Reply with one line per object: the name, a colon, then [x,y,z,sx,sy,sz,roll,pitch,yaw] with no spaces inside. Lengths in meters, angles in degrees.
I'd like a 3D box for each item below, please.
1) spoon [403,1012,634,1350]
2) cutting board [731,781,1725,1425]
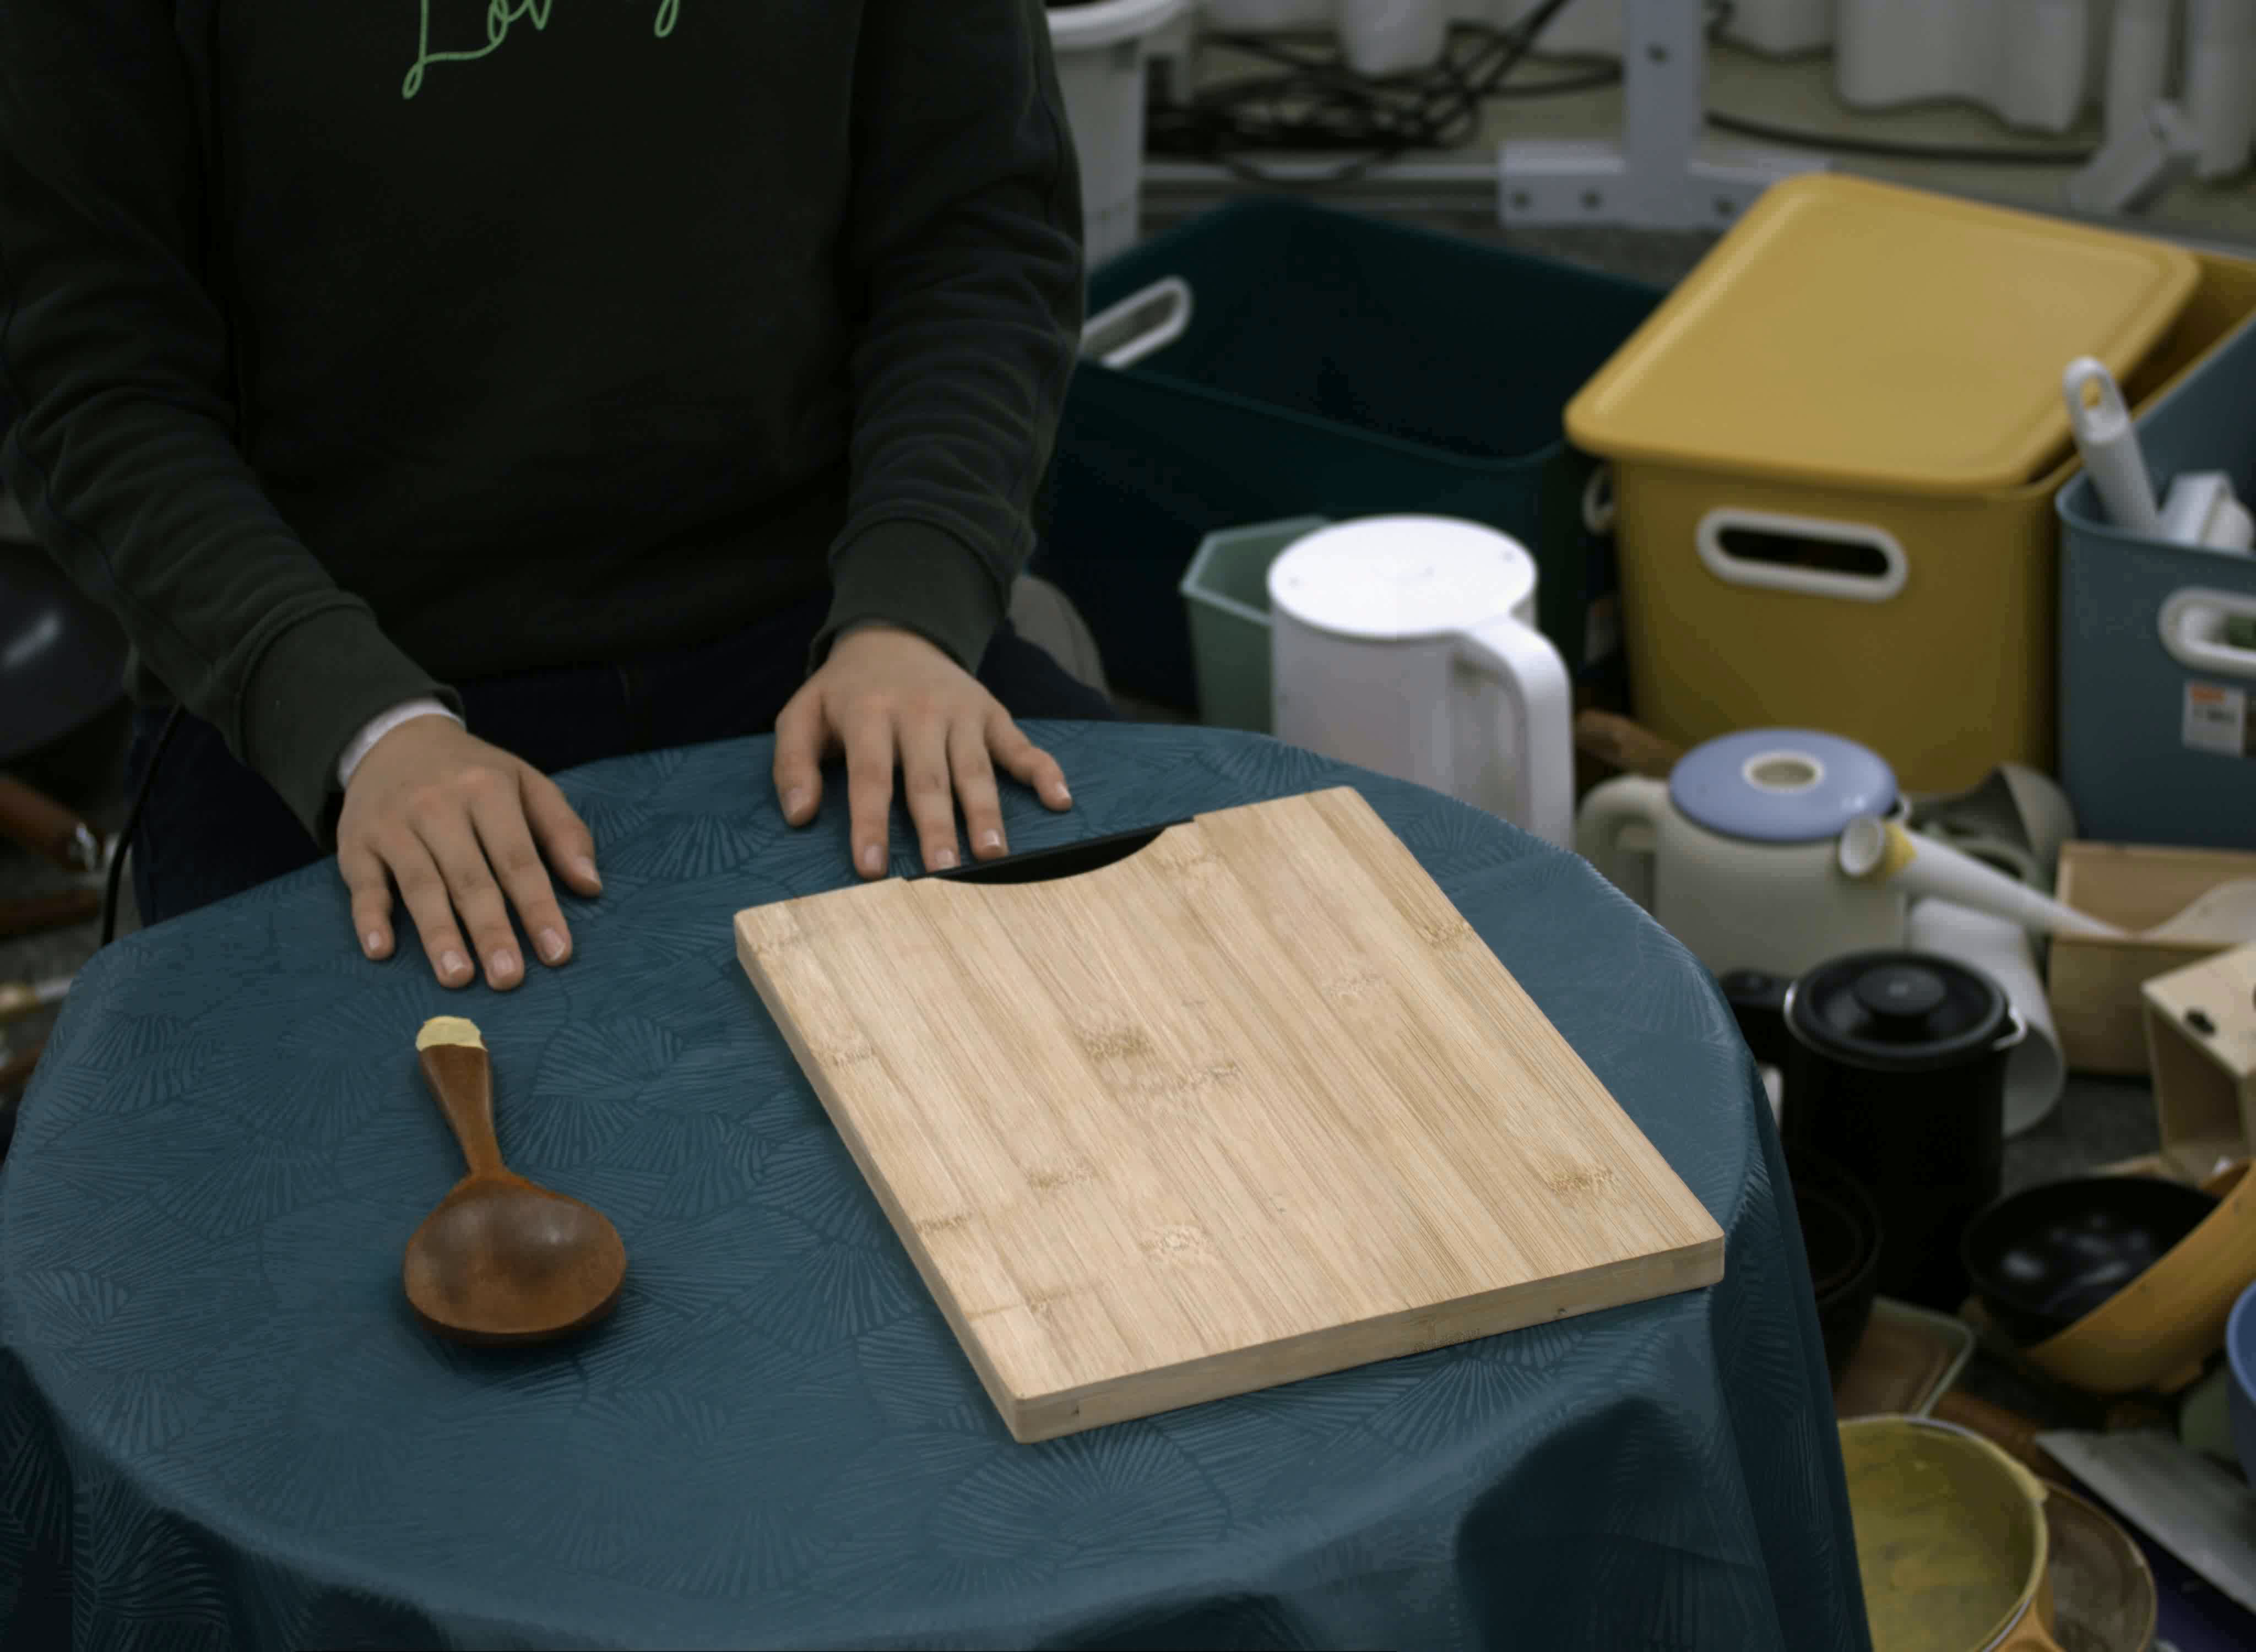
spoon: [-0.212,0.119,1.869,0.075,0.017,0.218,-10,28,-10]
cutting board: [0.024,0.087,1.909,0.251,0.023,0.351,-11,28,-16]
